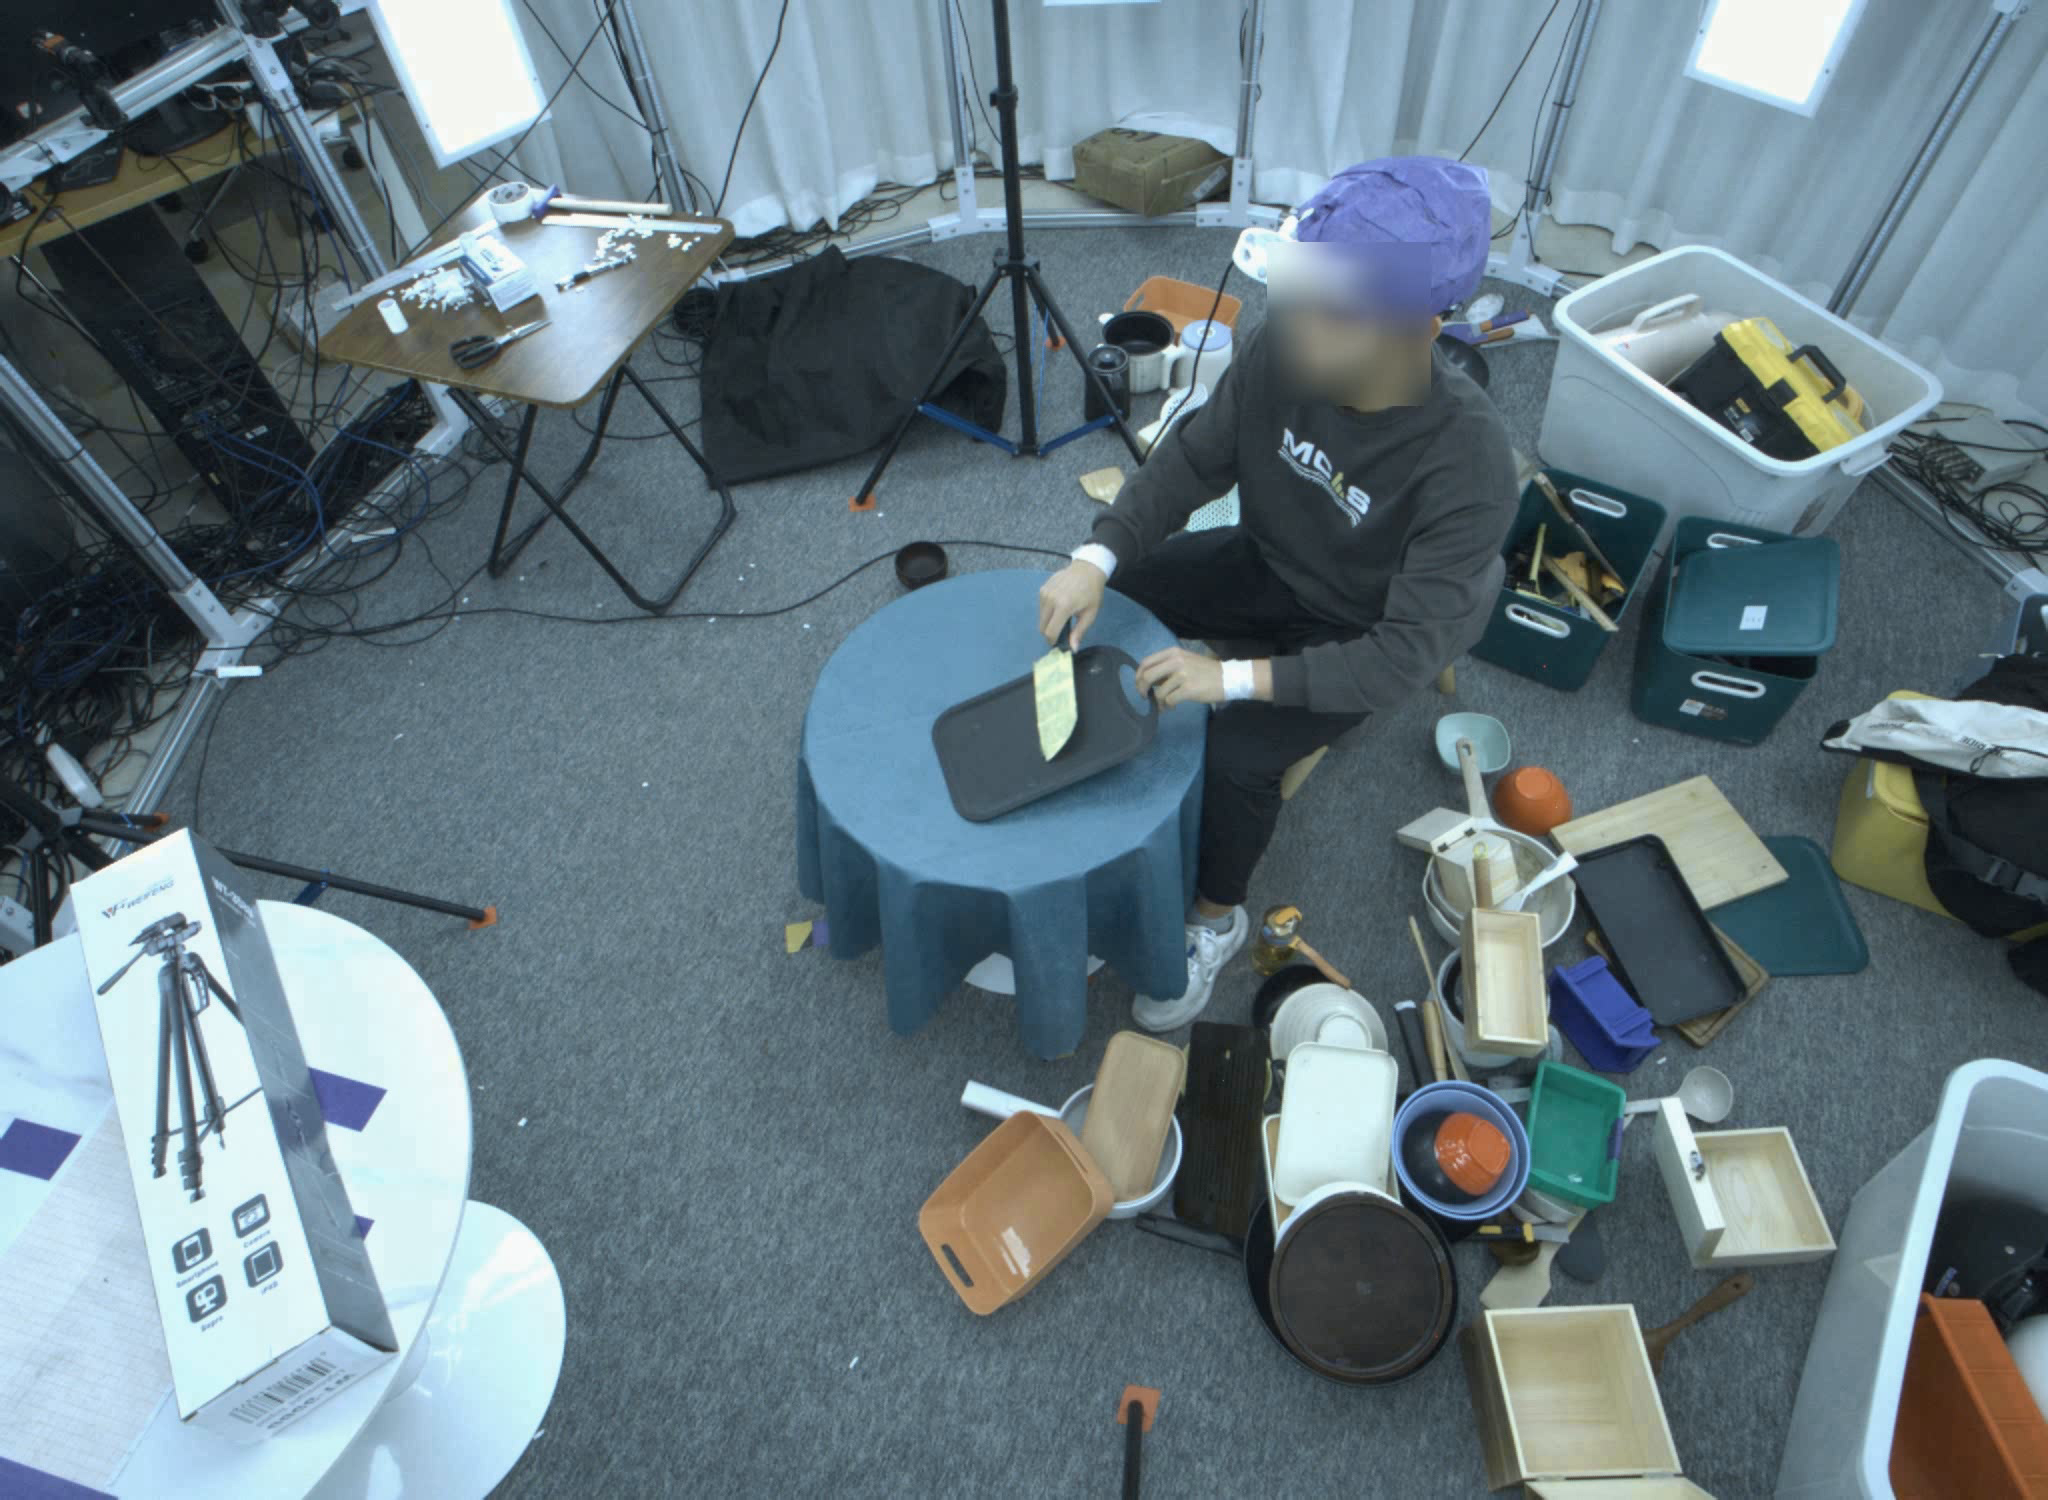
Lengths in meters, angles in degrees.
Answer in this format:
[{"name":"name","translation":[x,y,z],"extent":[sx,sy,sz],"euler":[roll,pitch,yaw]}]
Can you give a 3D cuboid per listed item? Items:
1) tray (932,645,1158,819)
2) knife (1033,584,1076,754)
[{"name":"tray","translation":[0.031,-0.034,1.770],"extent":[0.325,0.010,0.207],"euler":[-23,56,2]},{"name":"knife","translation":[0.044,-0.121,1.798],"extent":[0.080,0.028,0.287],"euler":[-22,53,35]}]
